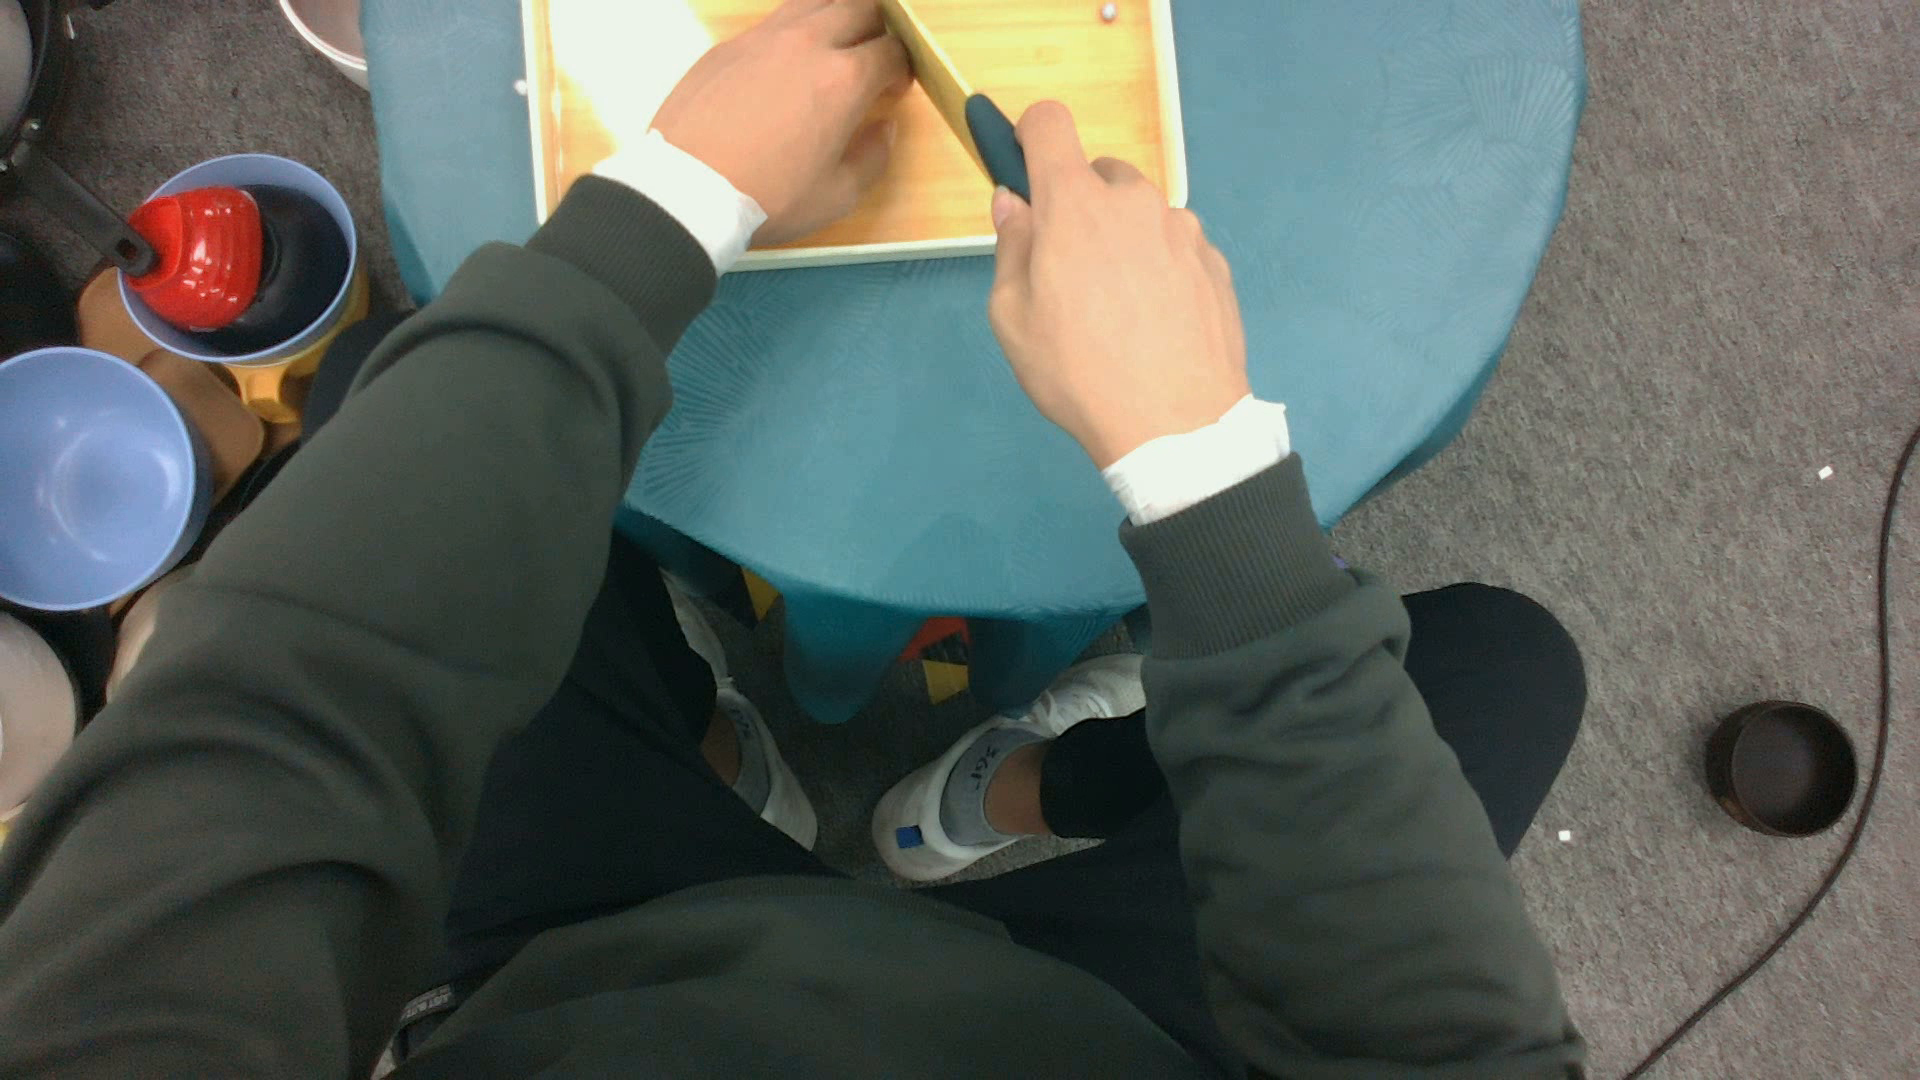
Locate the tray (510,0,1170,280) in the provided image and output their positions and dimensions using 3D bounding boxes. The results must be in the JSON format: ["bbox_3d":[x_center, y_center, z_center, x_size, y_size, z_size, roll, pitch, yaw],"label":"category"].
[{"bbox_3d":[-0.056,-0.228,0.657,0.300,0.027,0.191,-5,86,-5],"label":"tray"}]

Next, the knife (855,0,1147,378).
[{"bbox_3d":[-0.001,-0.173,0.583,0.027,0.081,0.290,-32,63,2],"label":"knife"}]
